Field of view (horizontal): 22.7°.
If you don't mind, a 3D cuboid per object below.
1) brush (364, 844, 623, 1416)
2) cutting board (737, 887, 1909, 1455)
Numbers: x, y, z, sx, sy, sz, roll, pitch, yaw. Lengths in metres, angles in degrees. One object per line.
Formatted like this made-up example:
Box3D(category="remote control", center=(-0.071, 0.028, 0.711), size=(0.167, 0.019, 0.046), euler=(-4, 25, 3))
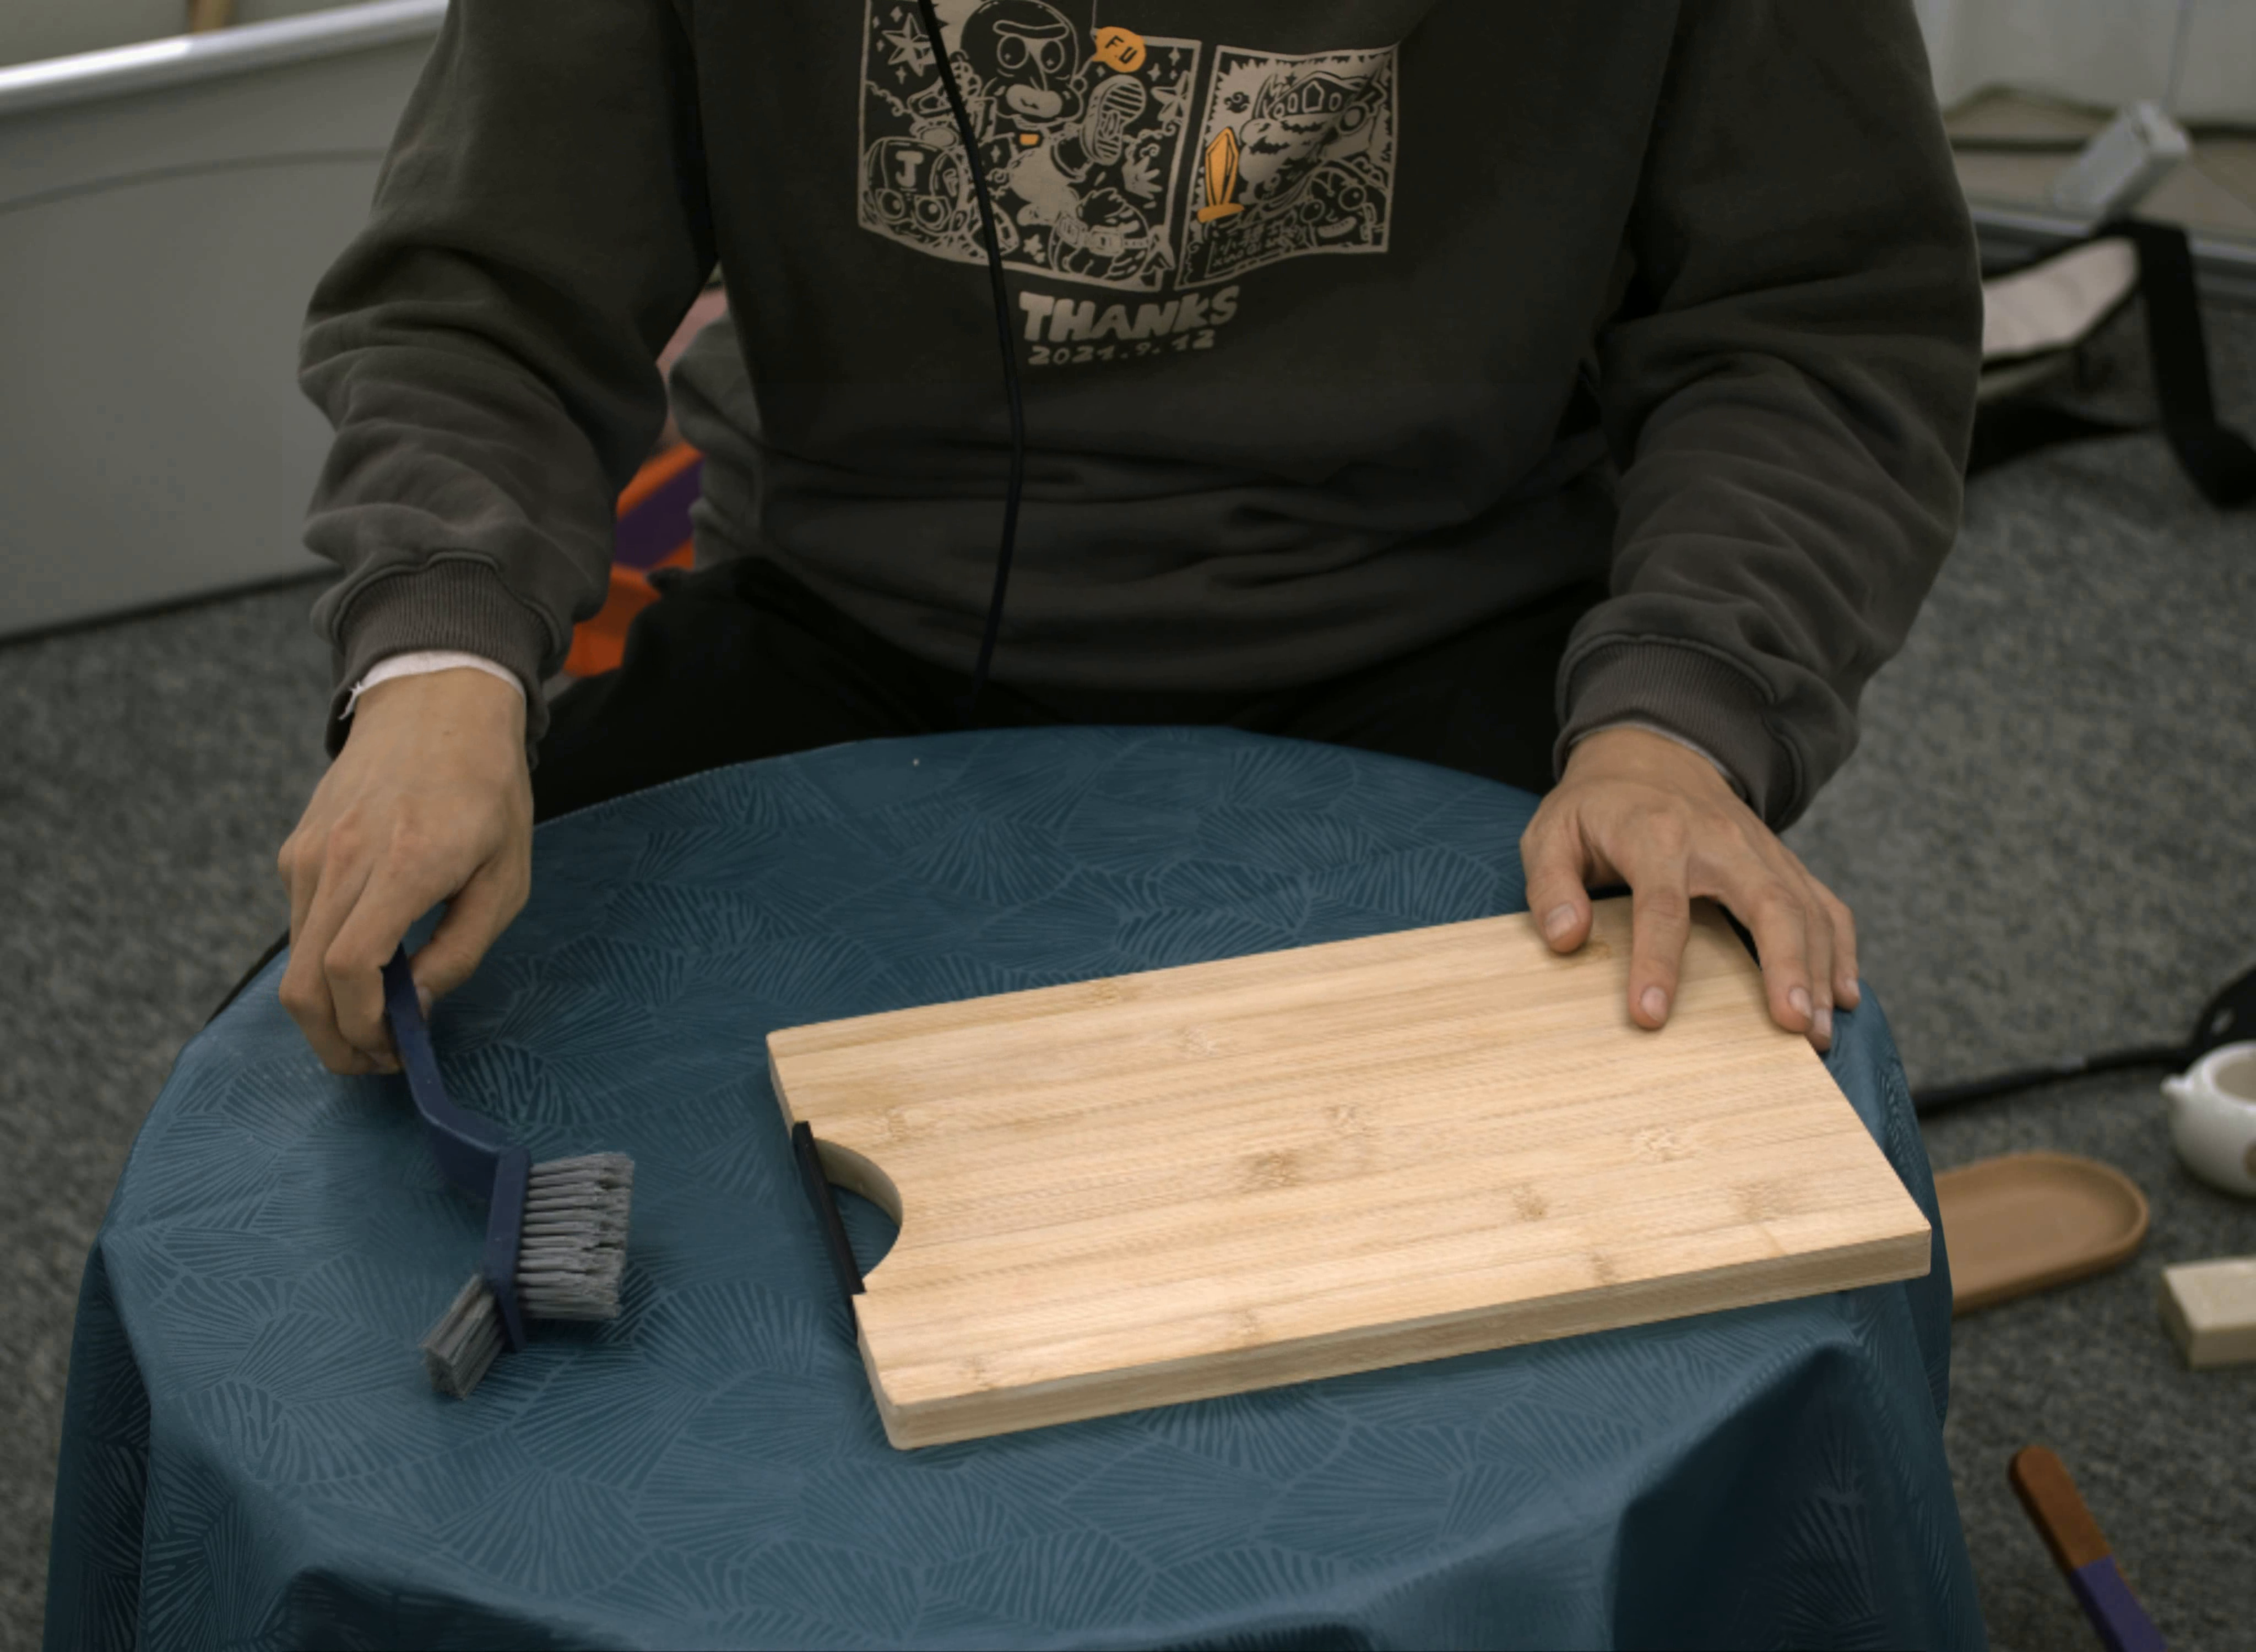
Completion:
Box3D(category="brush", center=(-0.238, 0.096, 1.882), size=(0.096, 0.033, 0.275), euler=(-21, 36, -15))
Box3D(category="cutting board", center=(0.060, 0.109, 1.861), size=(0.348, 0.023, 0.253), euler=(-9, 28, -11))
